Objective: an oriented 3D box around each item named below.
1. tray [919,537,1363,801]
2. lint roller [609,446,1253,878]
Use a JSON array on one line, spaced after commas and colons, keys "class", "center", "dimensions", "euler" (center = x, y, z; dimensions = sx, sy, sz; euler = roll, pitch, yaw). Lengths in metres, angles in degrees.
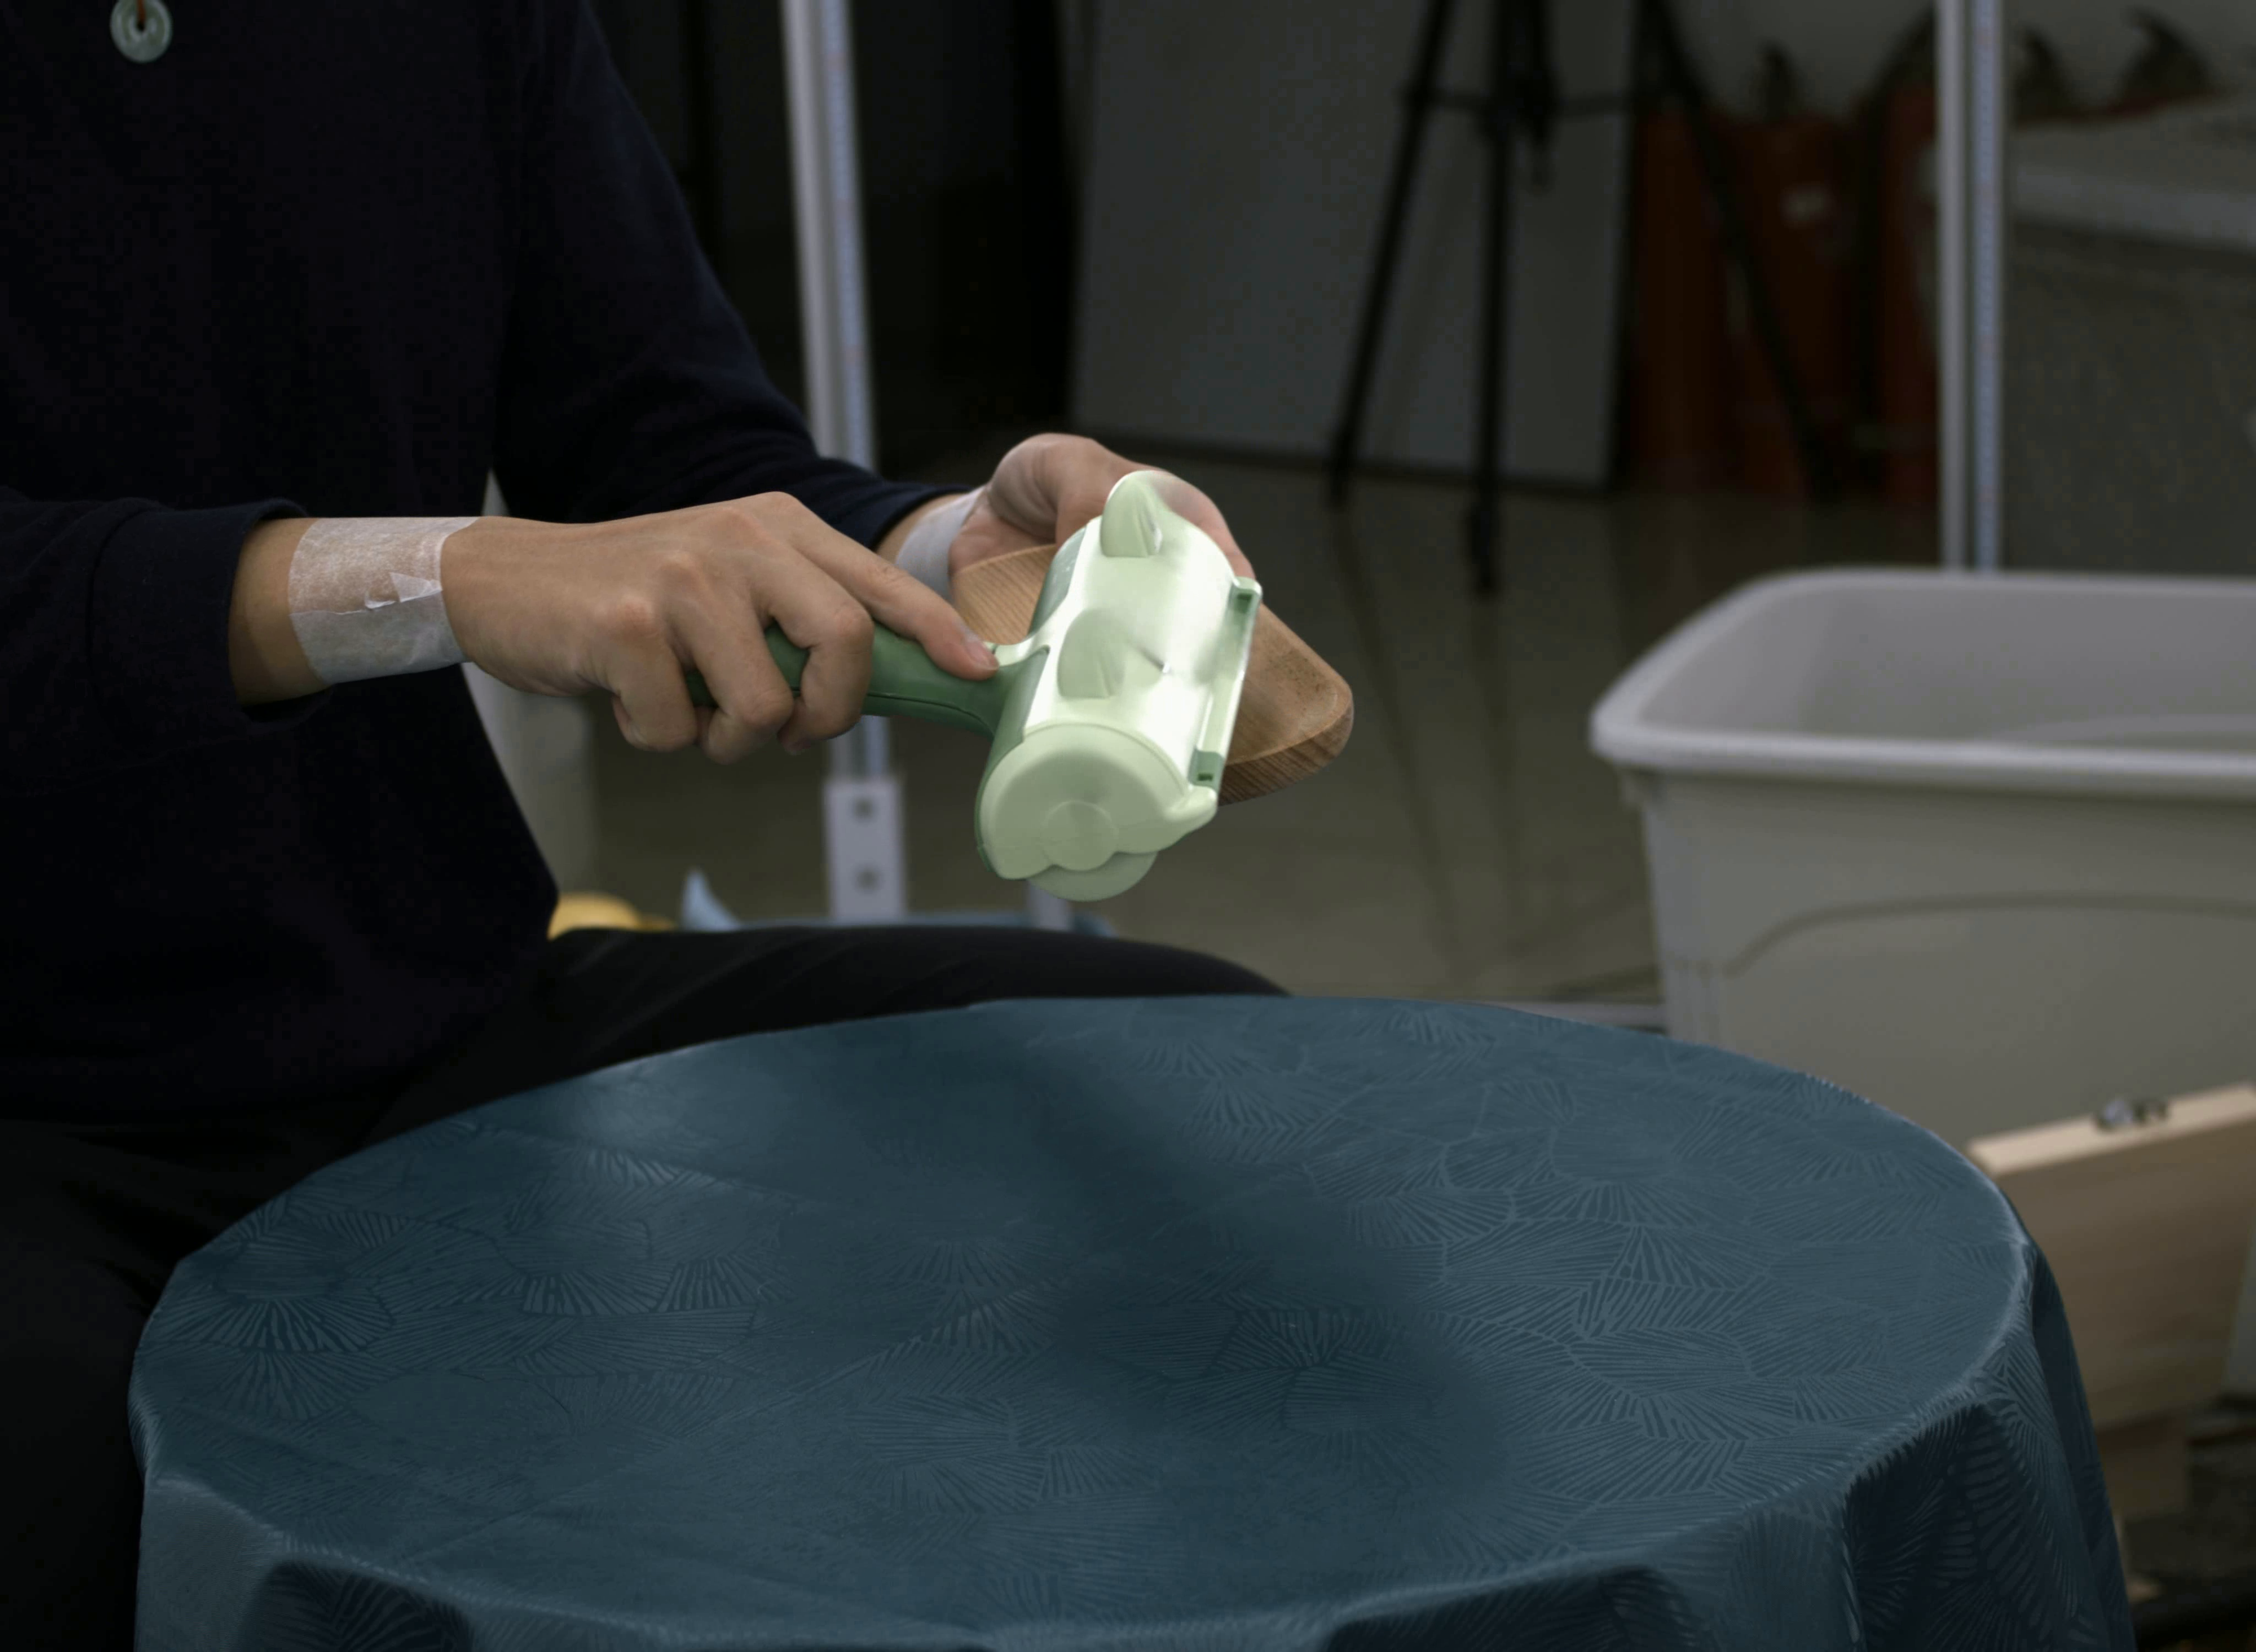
[{"class": "tray", "center": [0.002, -0.052, 1.679], "dimensions": [0.100, 0.020, 0.233], "euler": [-15, 23, -12]}, {"class": "lint roller", "center": [-0.056, -0.067, 1.569], "dimensions": [0.181, 0.083, 0.198], "euler": [17, 23, -1]}]
